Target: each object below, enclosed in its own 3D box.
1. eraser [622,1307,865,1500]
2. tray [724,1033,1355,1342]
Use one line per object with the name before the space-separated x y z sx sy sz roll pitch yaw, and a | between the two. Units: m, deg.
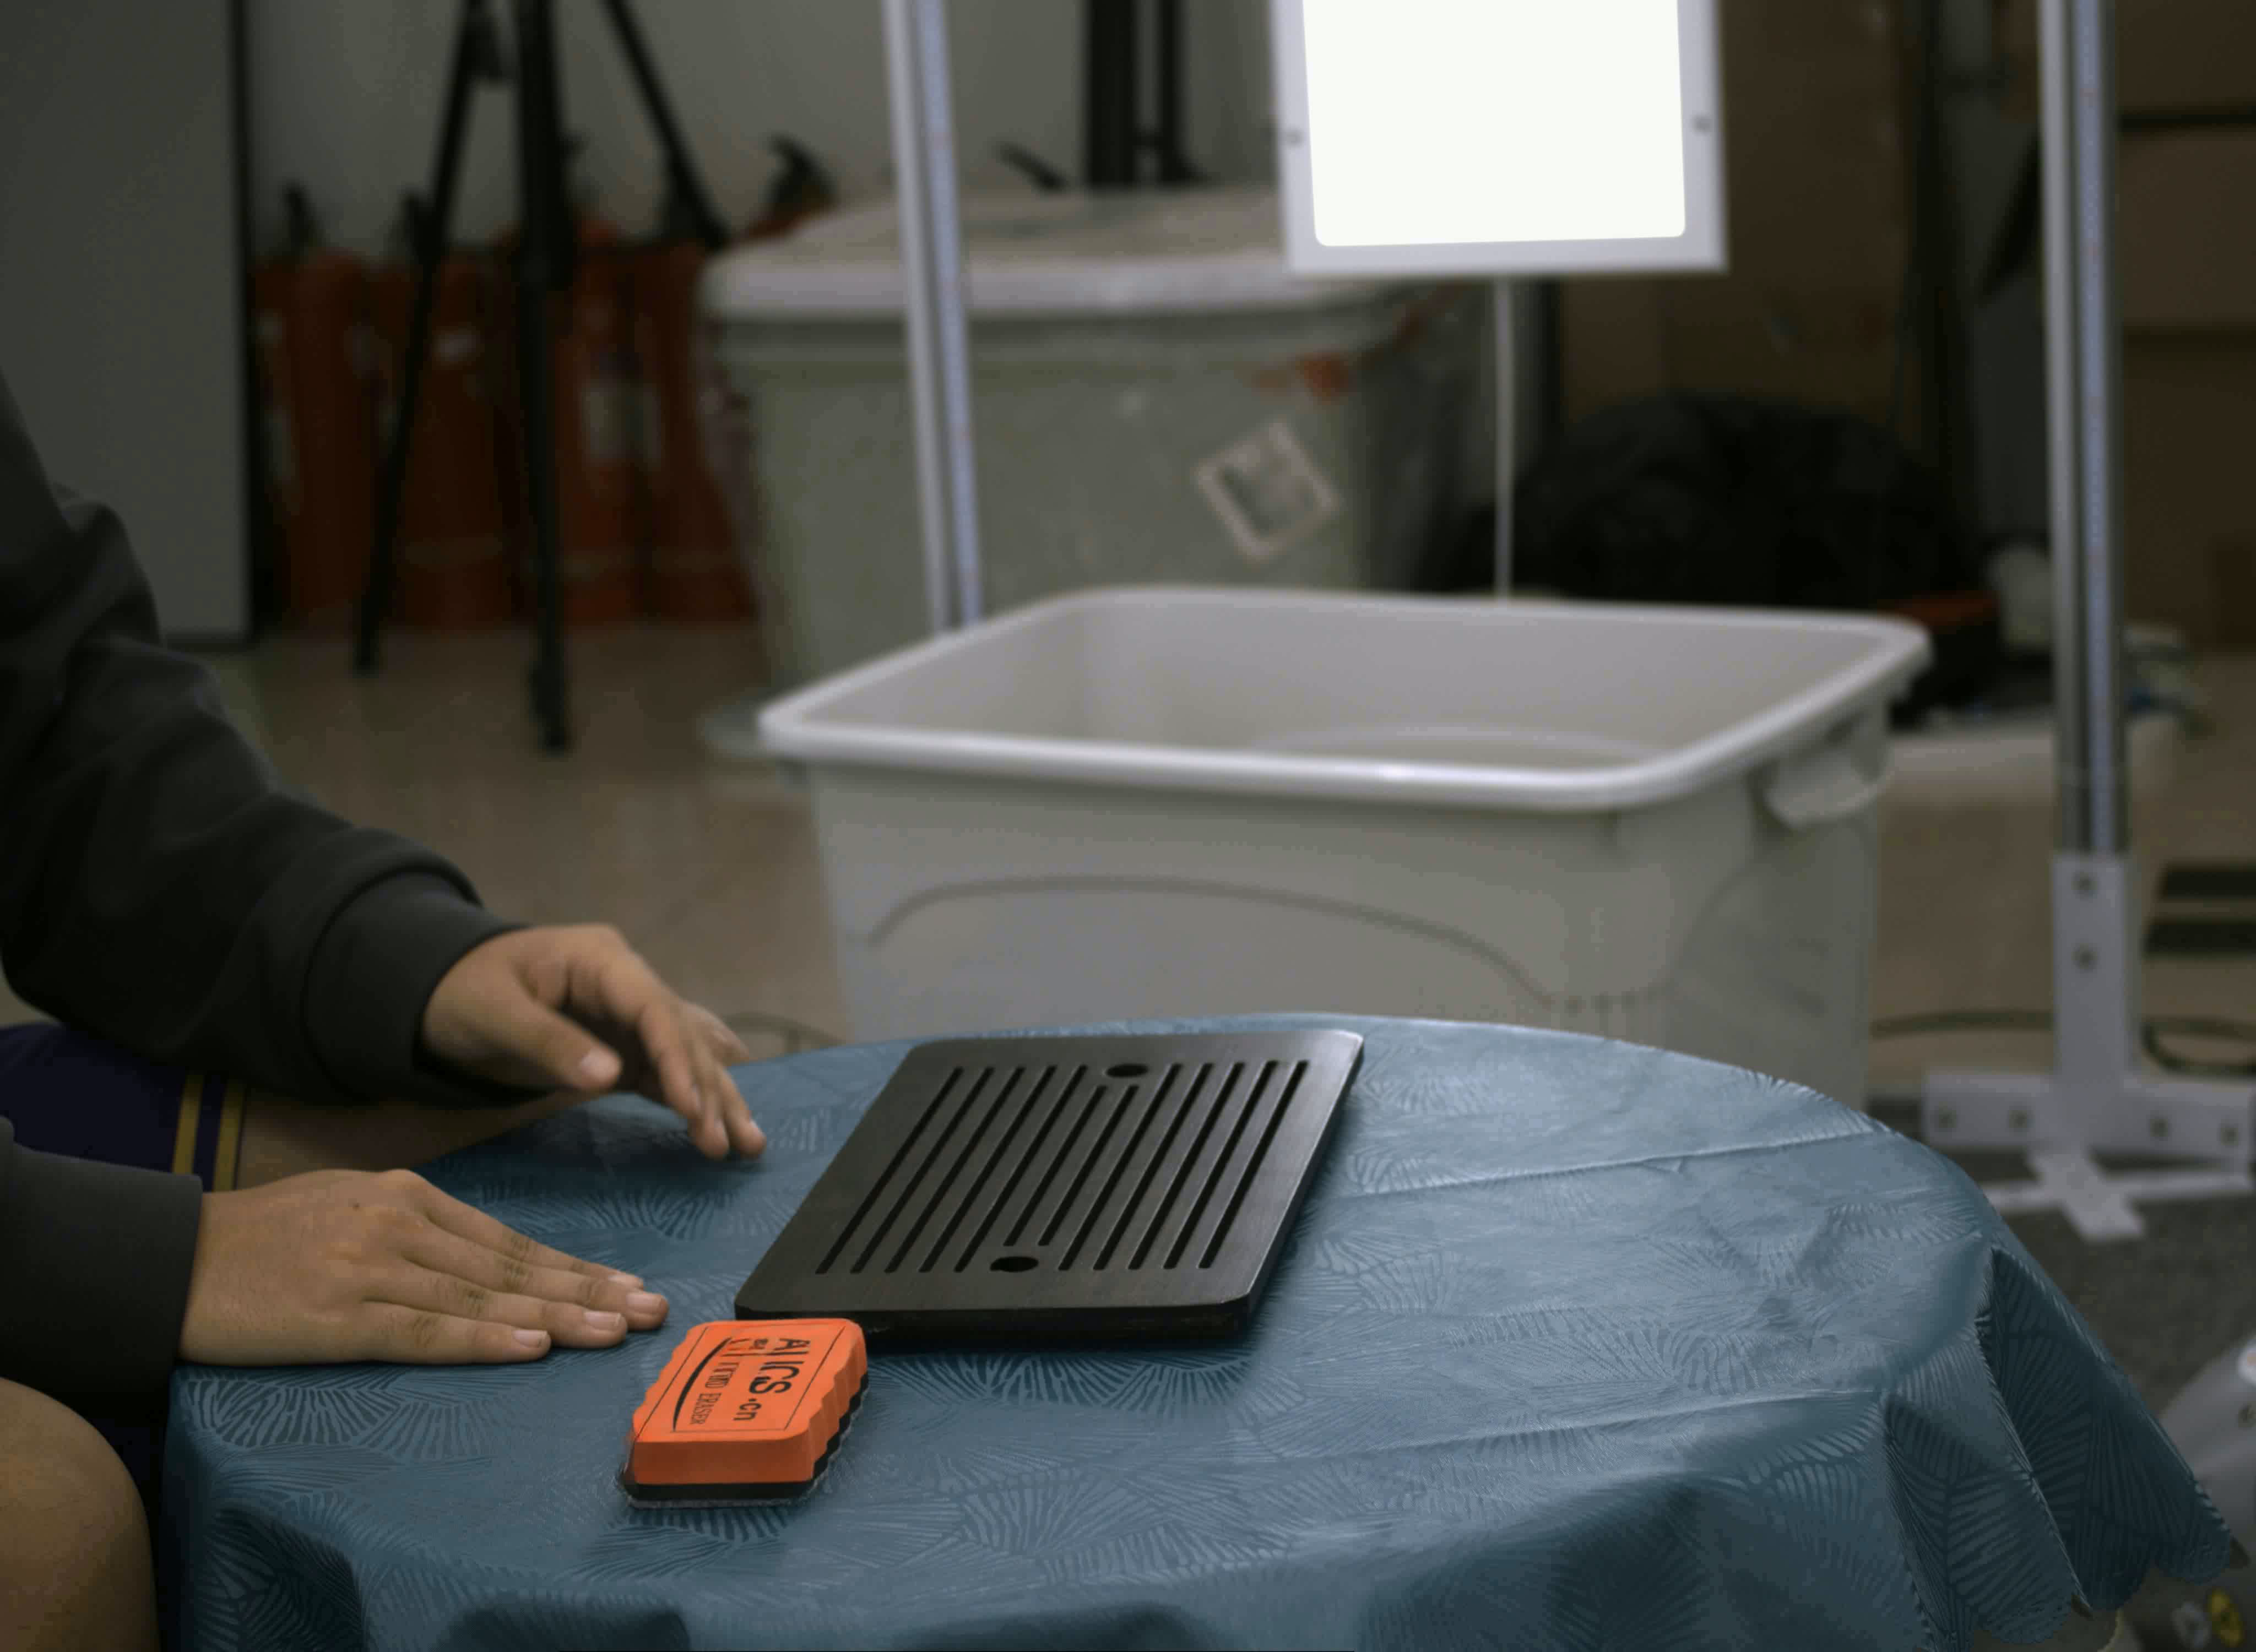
eraser | -0.116 0.175 1.679 0.059 0.023 0.107 -3 15 9
tray | -0.023 0.122 1.885 0.171 0.019 0.302 -2 14 11
